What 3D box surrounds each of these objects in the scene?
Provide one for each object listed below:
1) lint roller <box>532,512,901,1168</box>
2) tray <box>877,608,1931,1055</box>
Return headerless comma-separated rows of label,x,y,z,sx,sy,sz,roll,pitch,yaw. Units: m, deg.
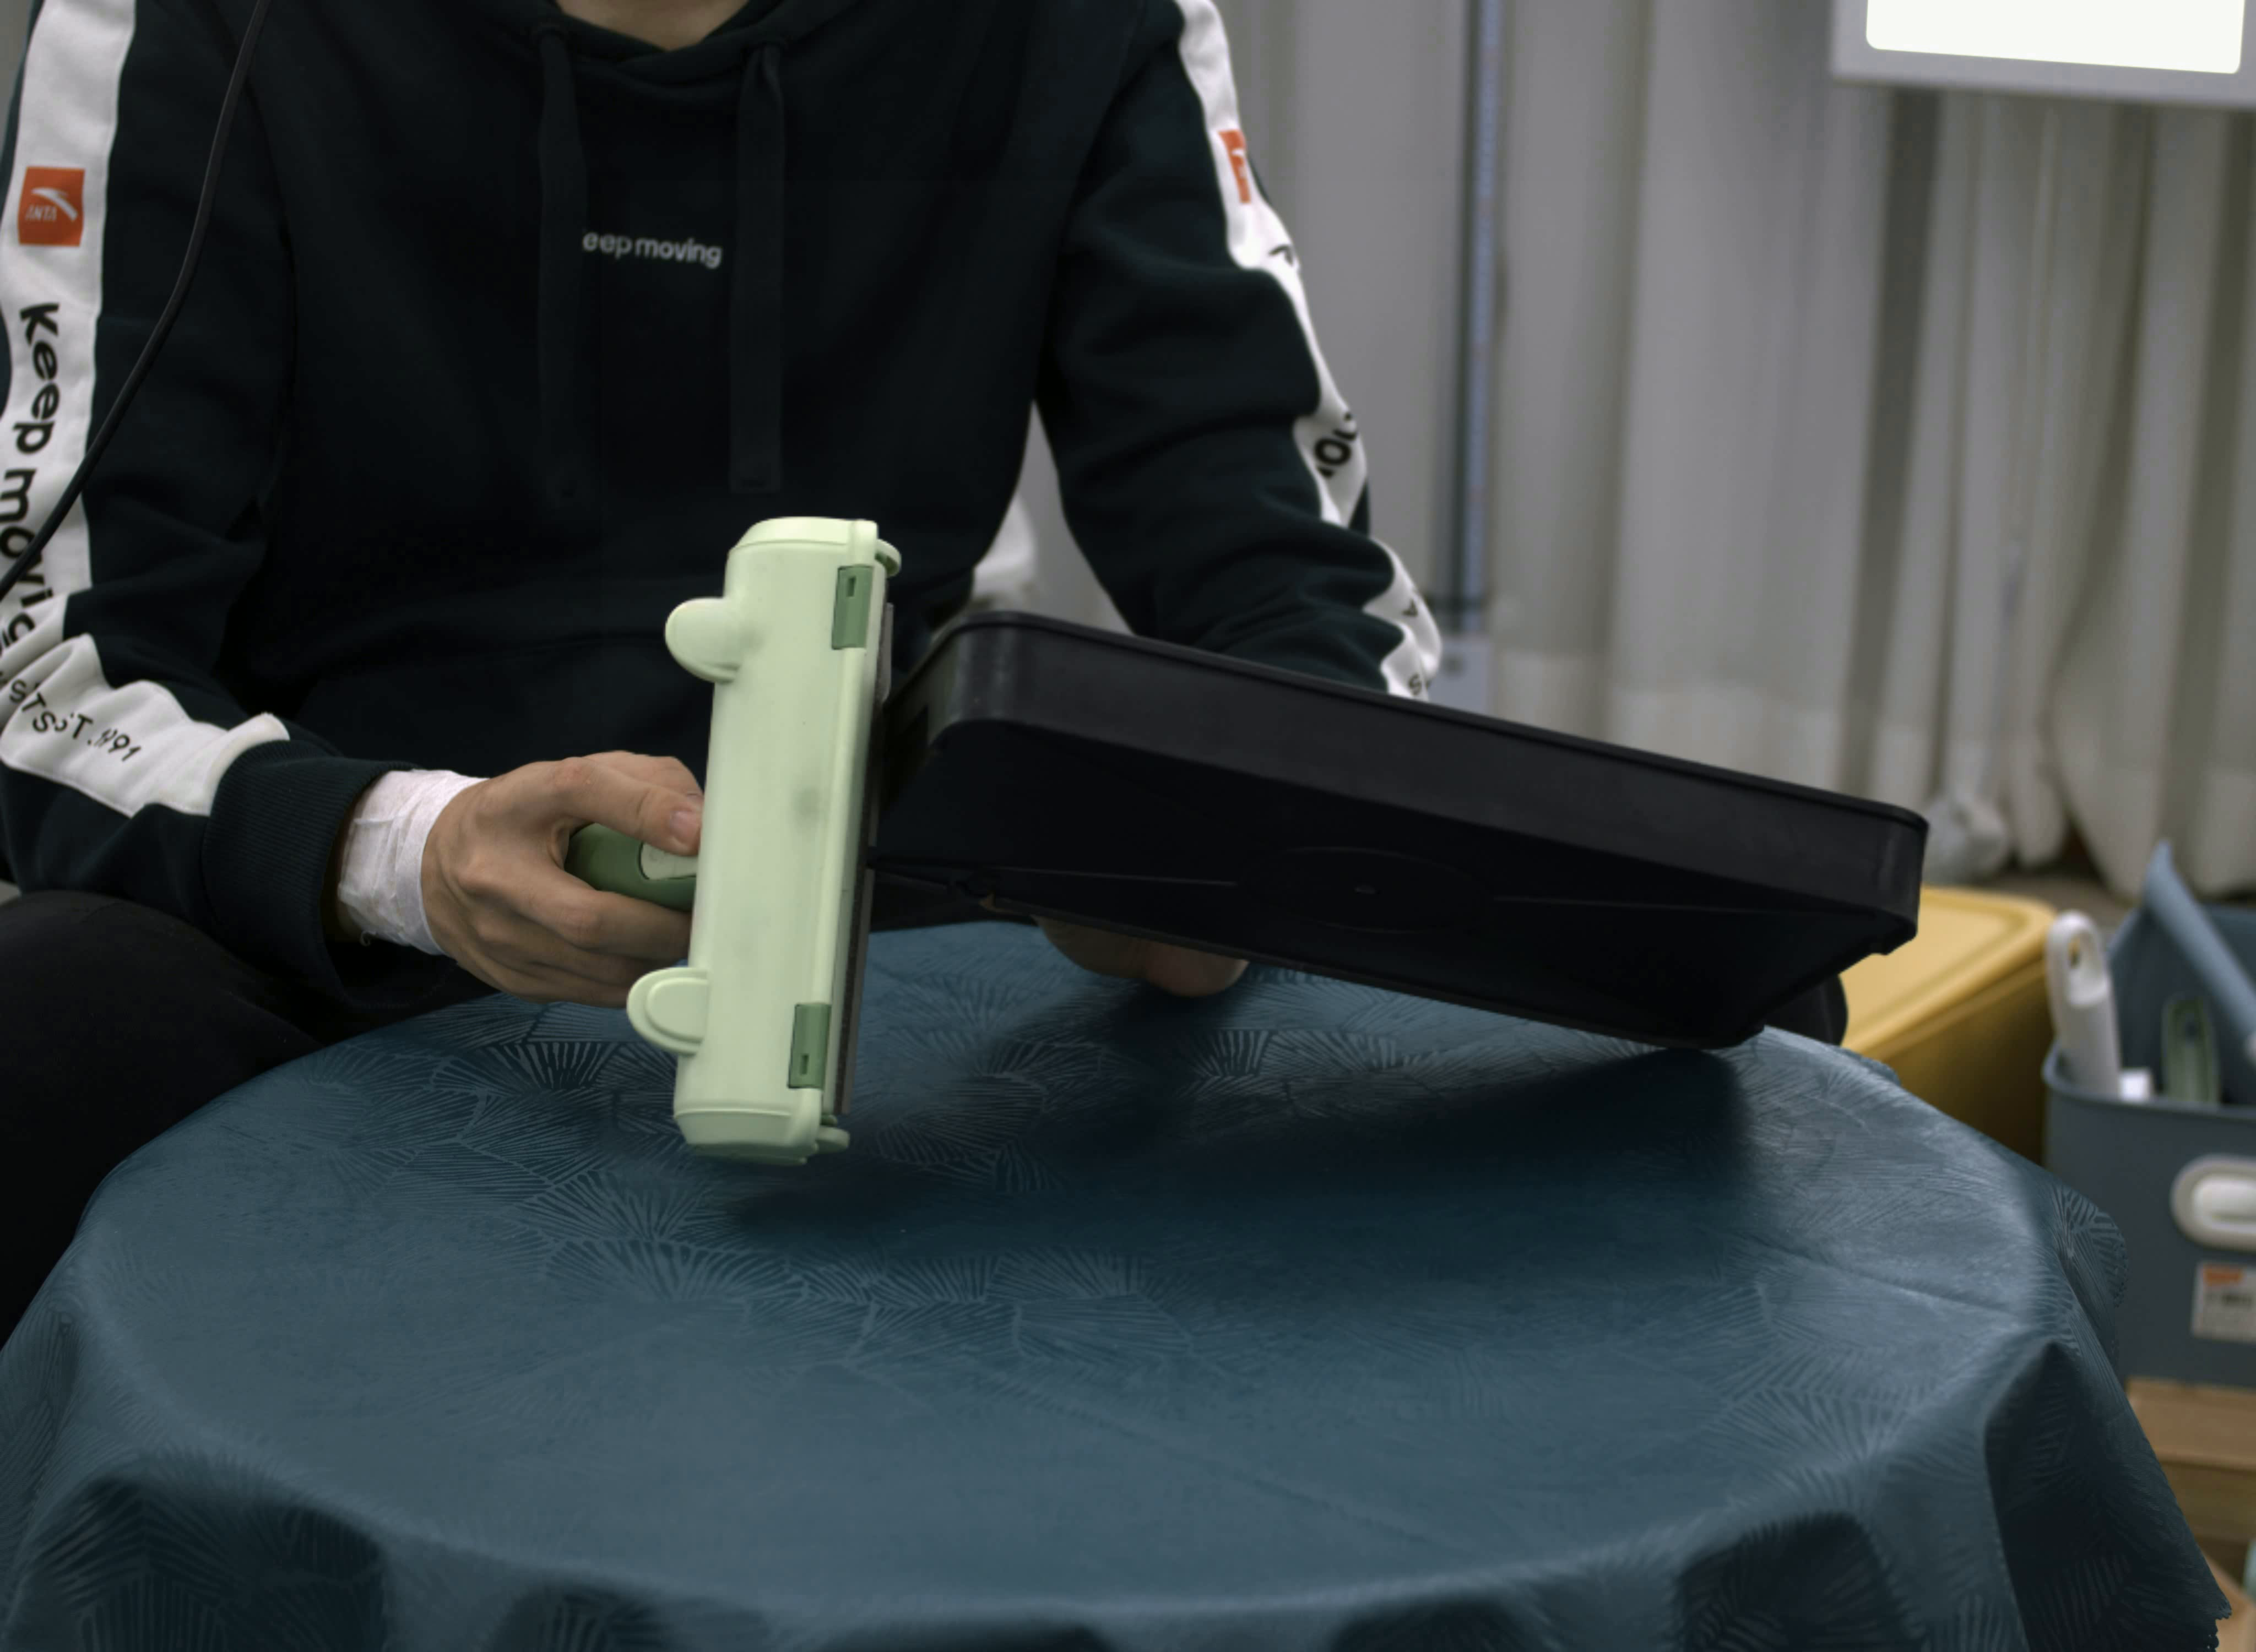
lint roller,-0.147,0.007,1.634,0.181,0.198,0.083,-6,-15,44
tray,0.074,0.006,1.646,0.319,0.037,0.184,12,-19,-14
